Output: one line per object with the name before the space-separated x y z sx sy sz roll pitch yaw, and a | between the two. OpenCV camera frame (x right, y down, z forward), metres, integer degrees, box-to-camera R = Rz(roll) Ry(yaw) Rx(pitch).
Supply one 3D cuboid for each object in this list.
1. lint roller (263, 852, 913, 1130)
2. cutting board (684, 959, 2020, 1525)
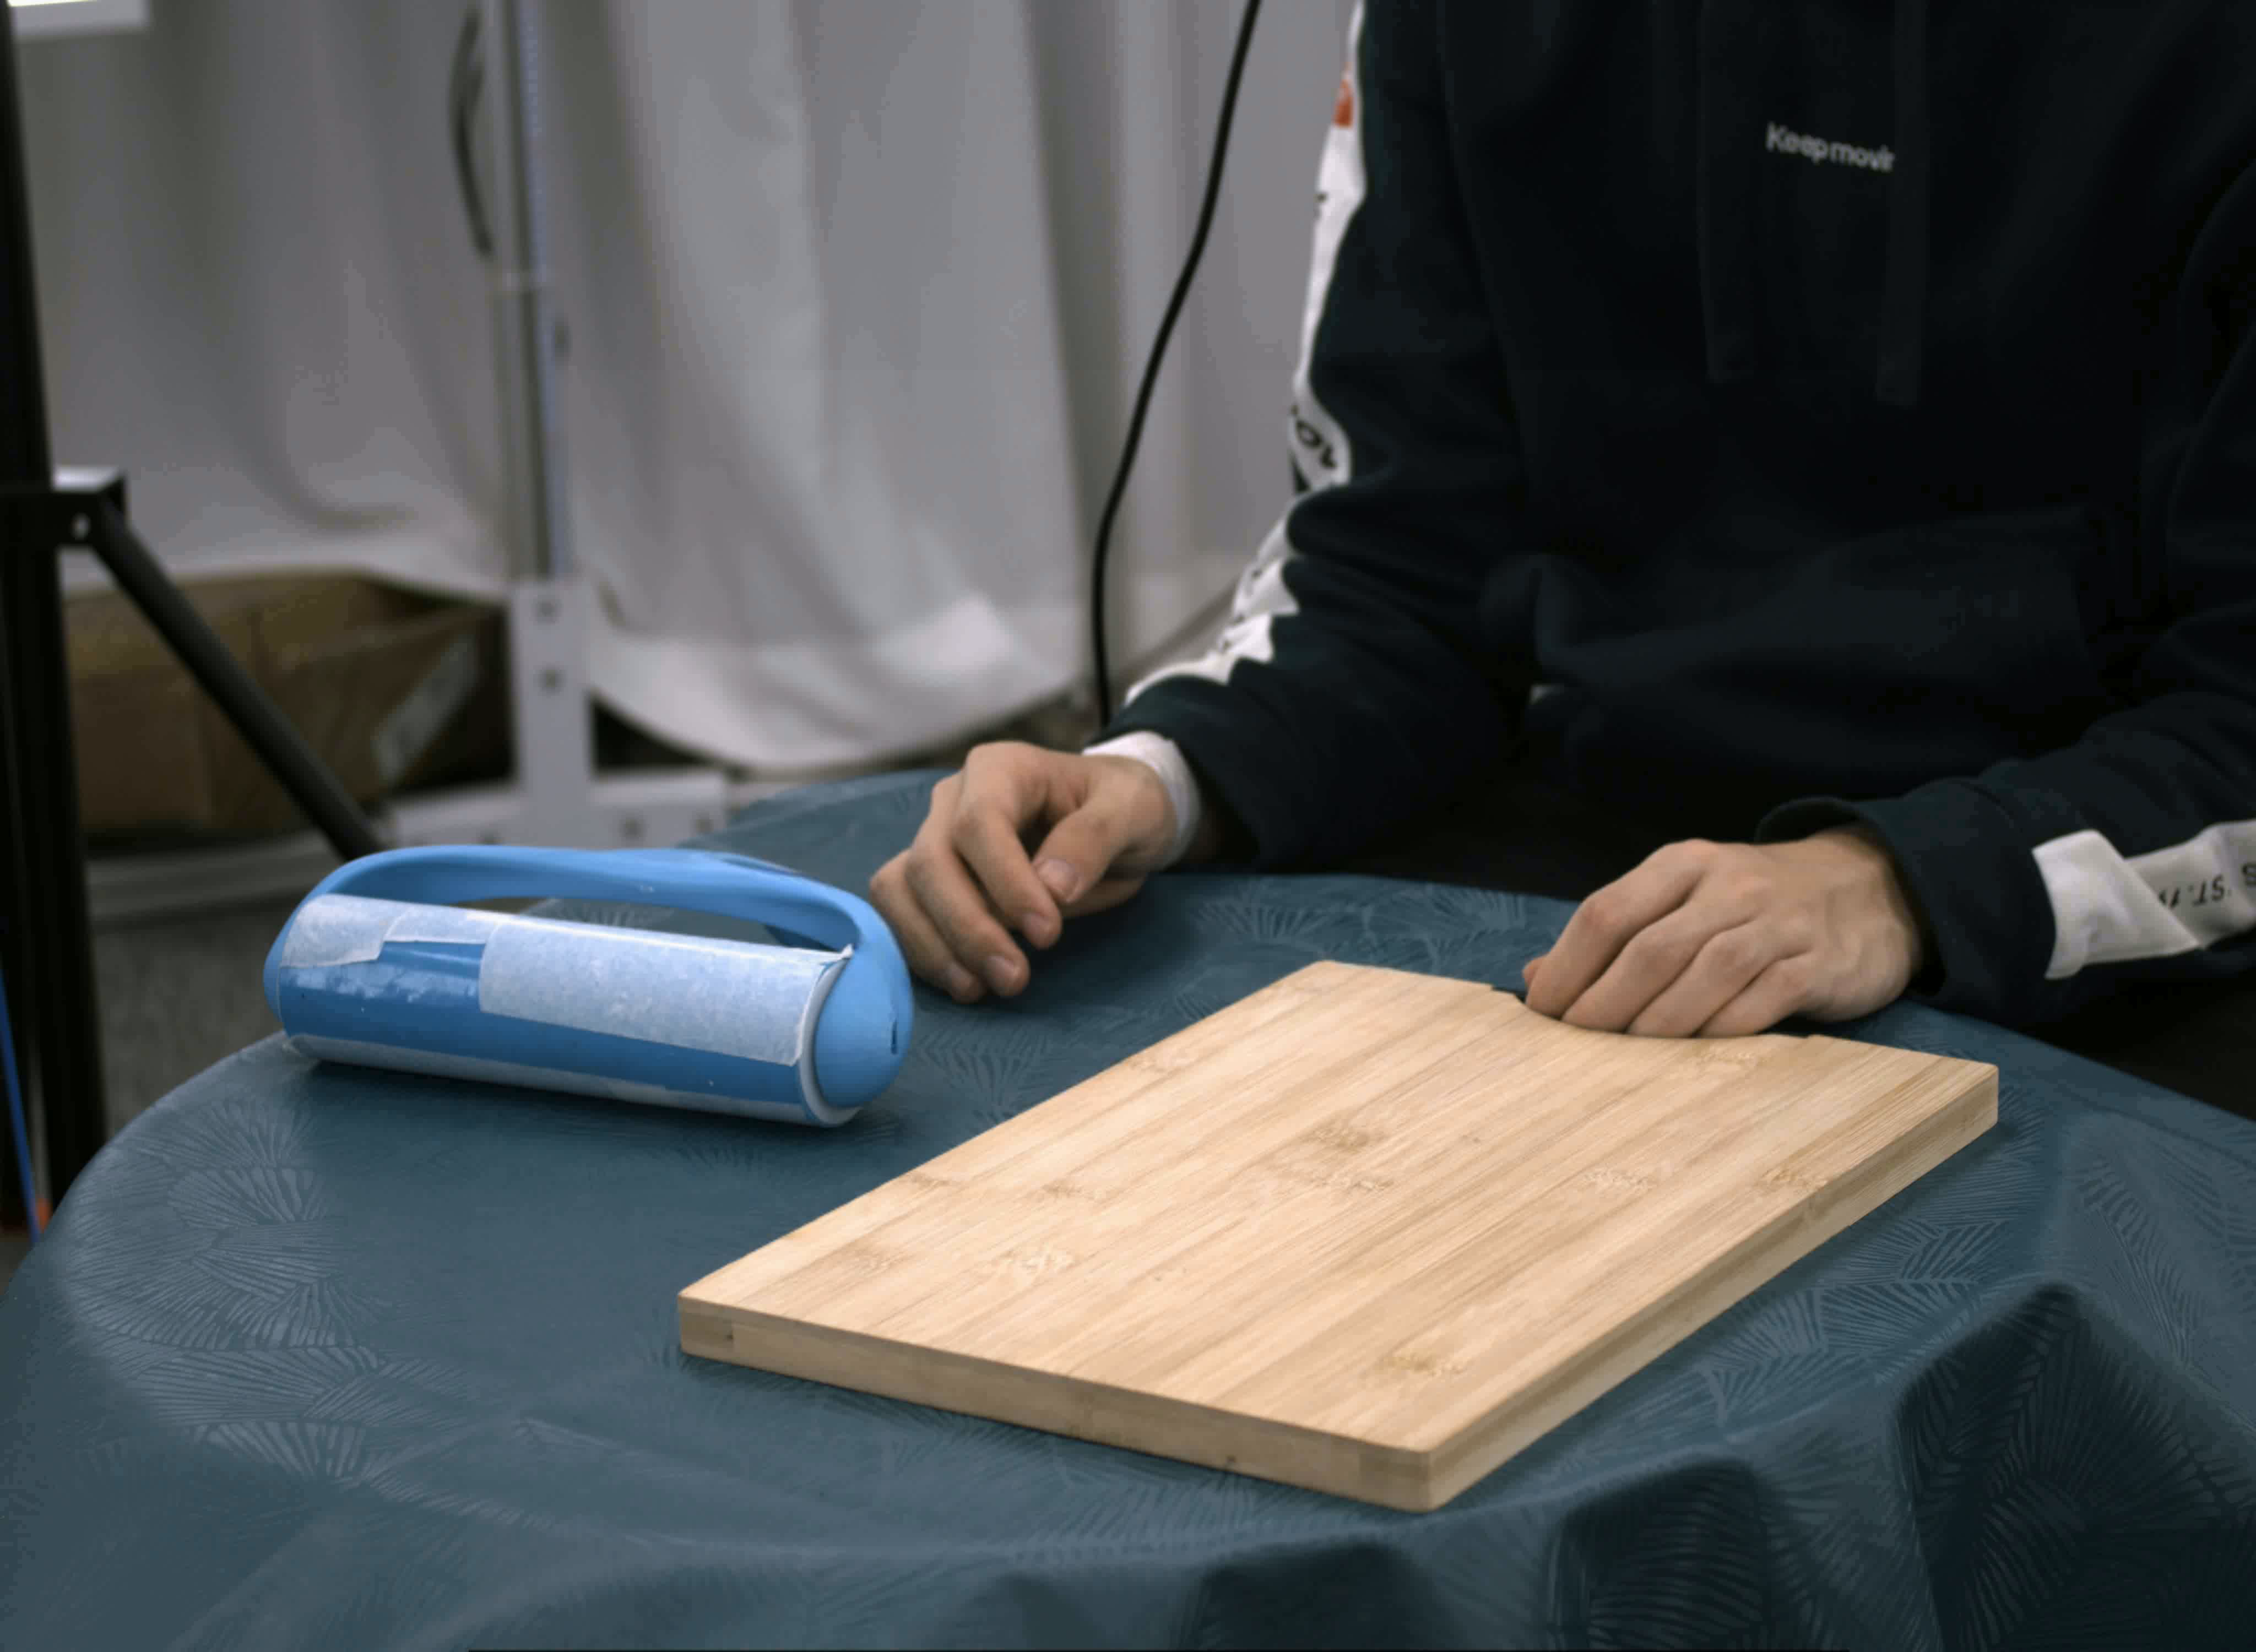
lint roller | -0.148 0.041 1.718 0.232 0.068 0.177 3 17 26
cutting board | 0.071 0.109 1.514 0.255 0.023 0.342 8 19 33
